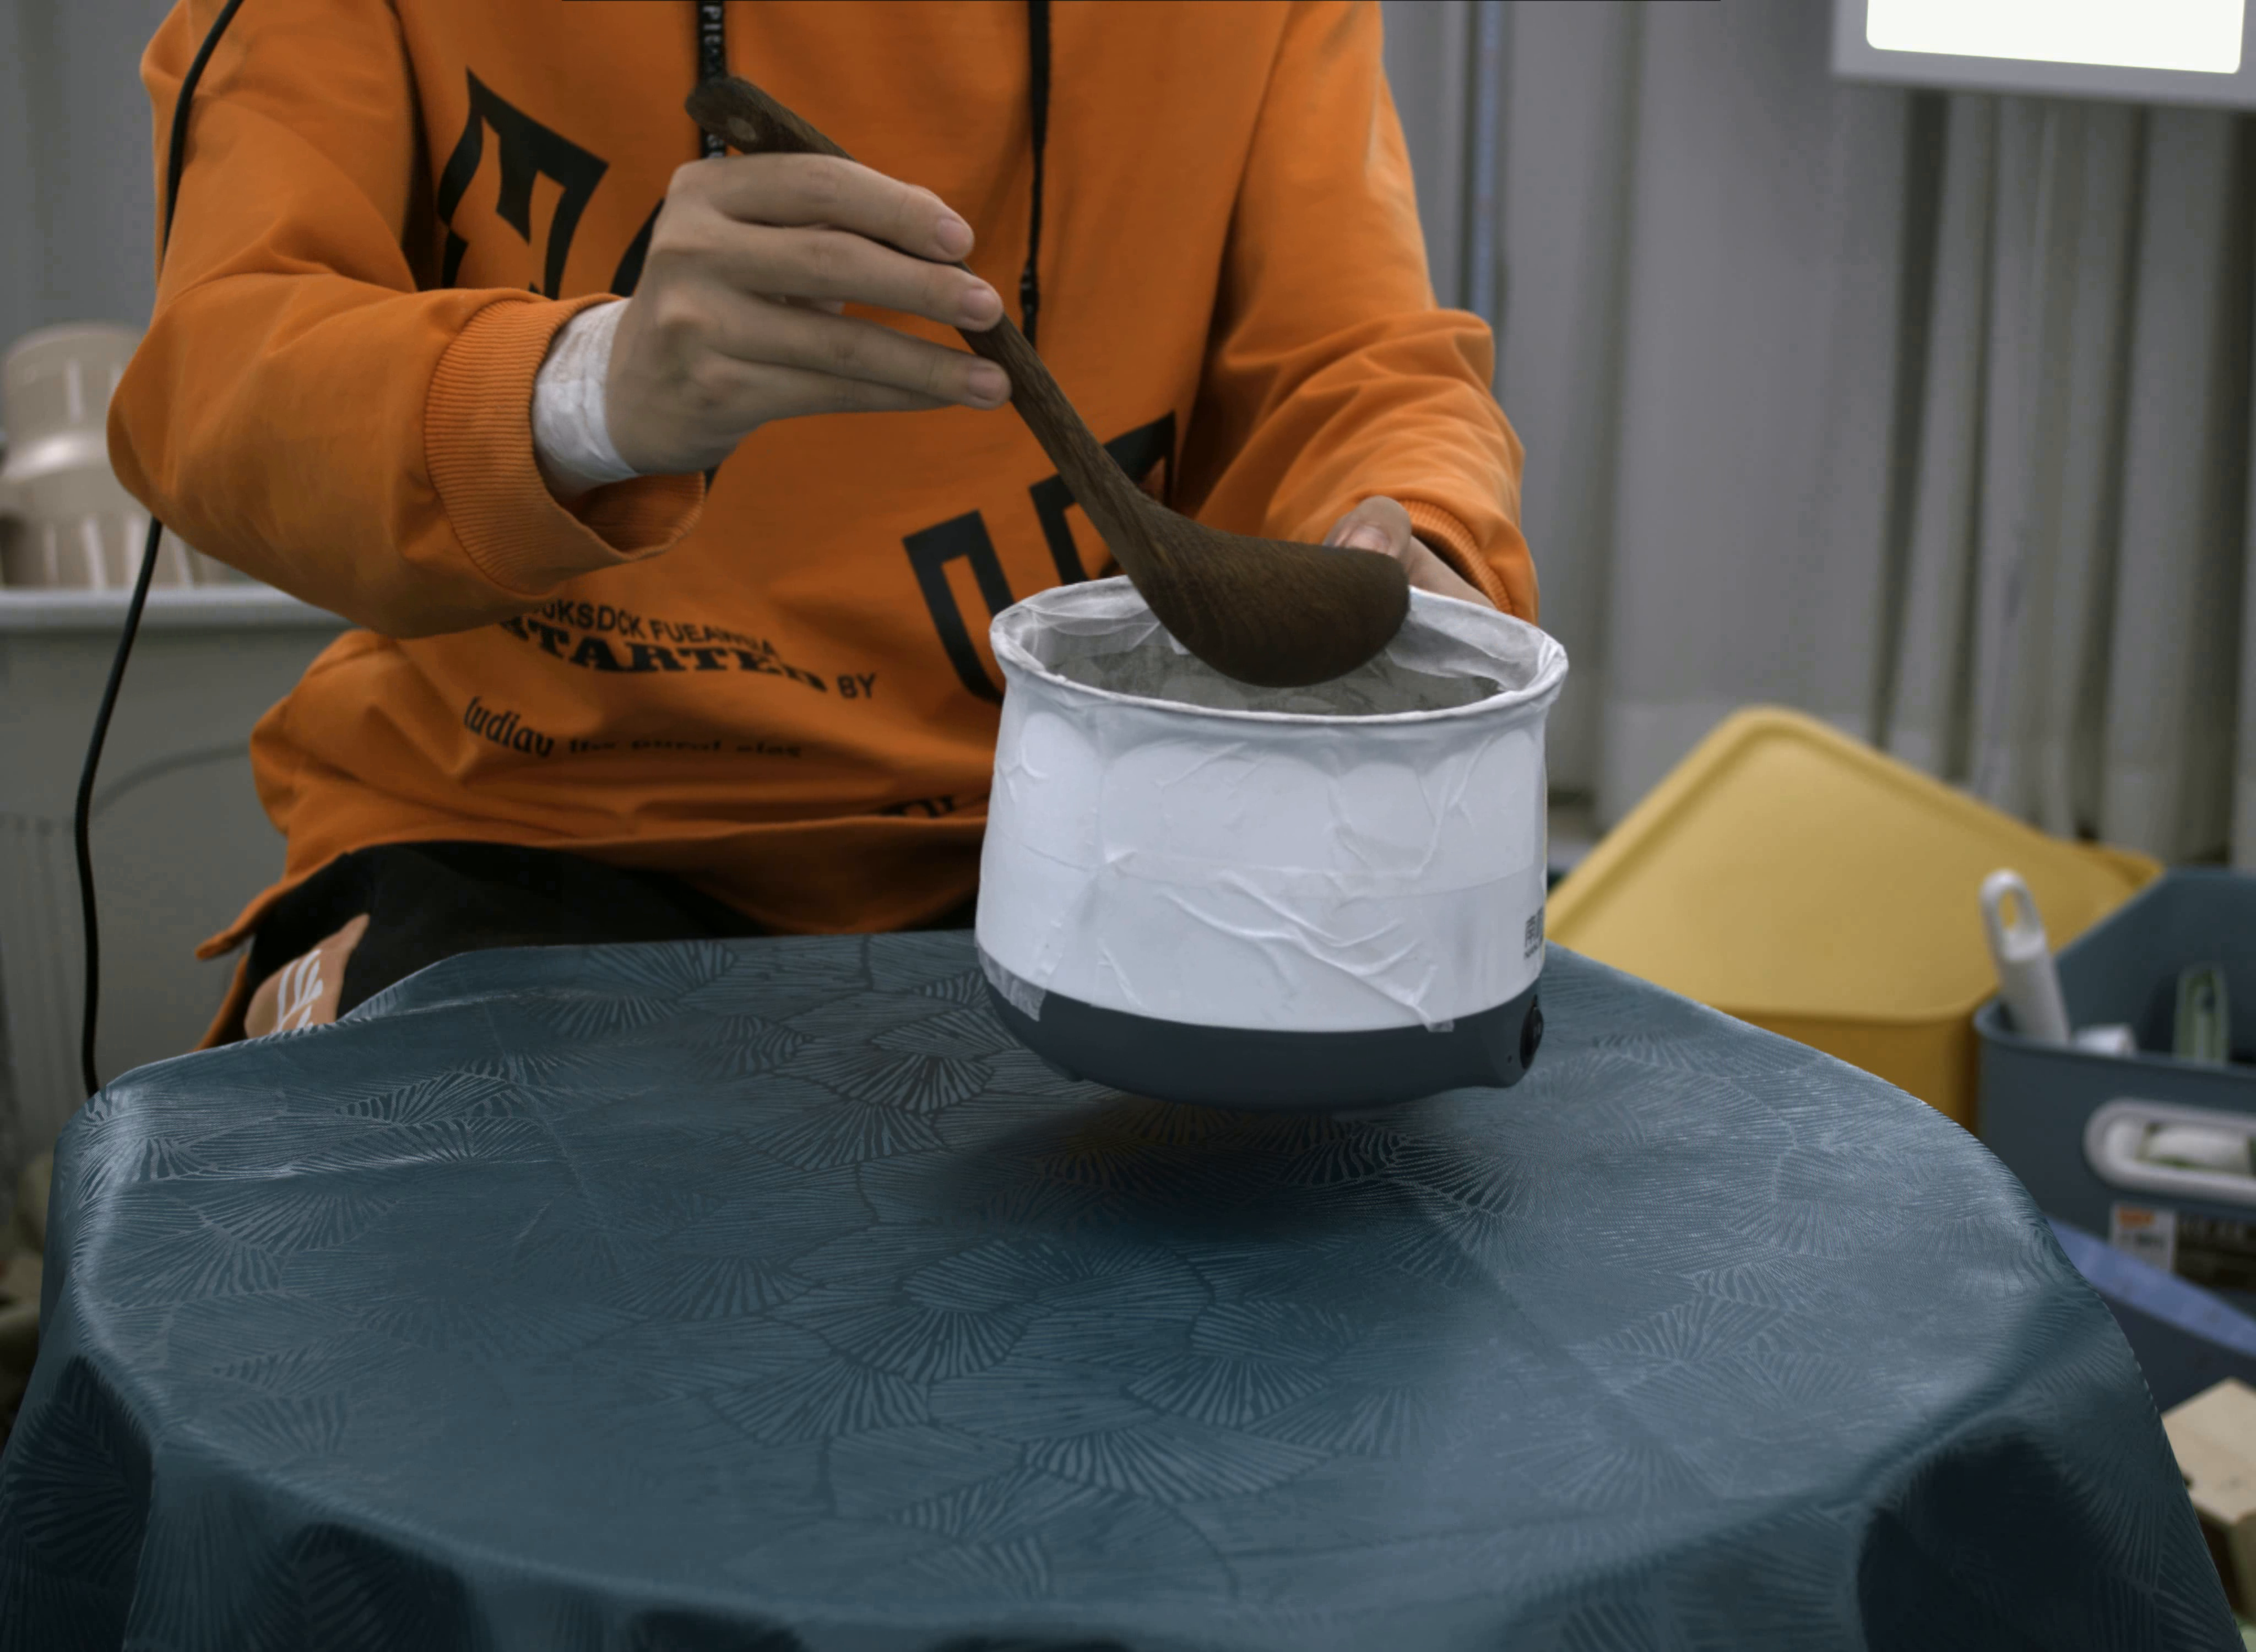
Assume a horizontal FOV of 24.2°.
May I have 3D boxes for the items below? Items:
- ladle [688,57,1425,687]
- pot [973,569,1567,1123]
[{"bbox_3d":[-0.020,-0.149,1.636,0.071,0.274,0.076,-43,0,-37],"label":"ladle"},{"bbox_3d":[0.049,-0.003,1.646,0.177,0.138,0.233,8,17,13],"label":"pot"}]
